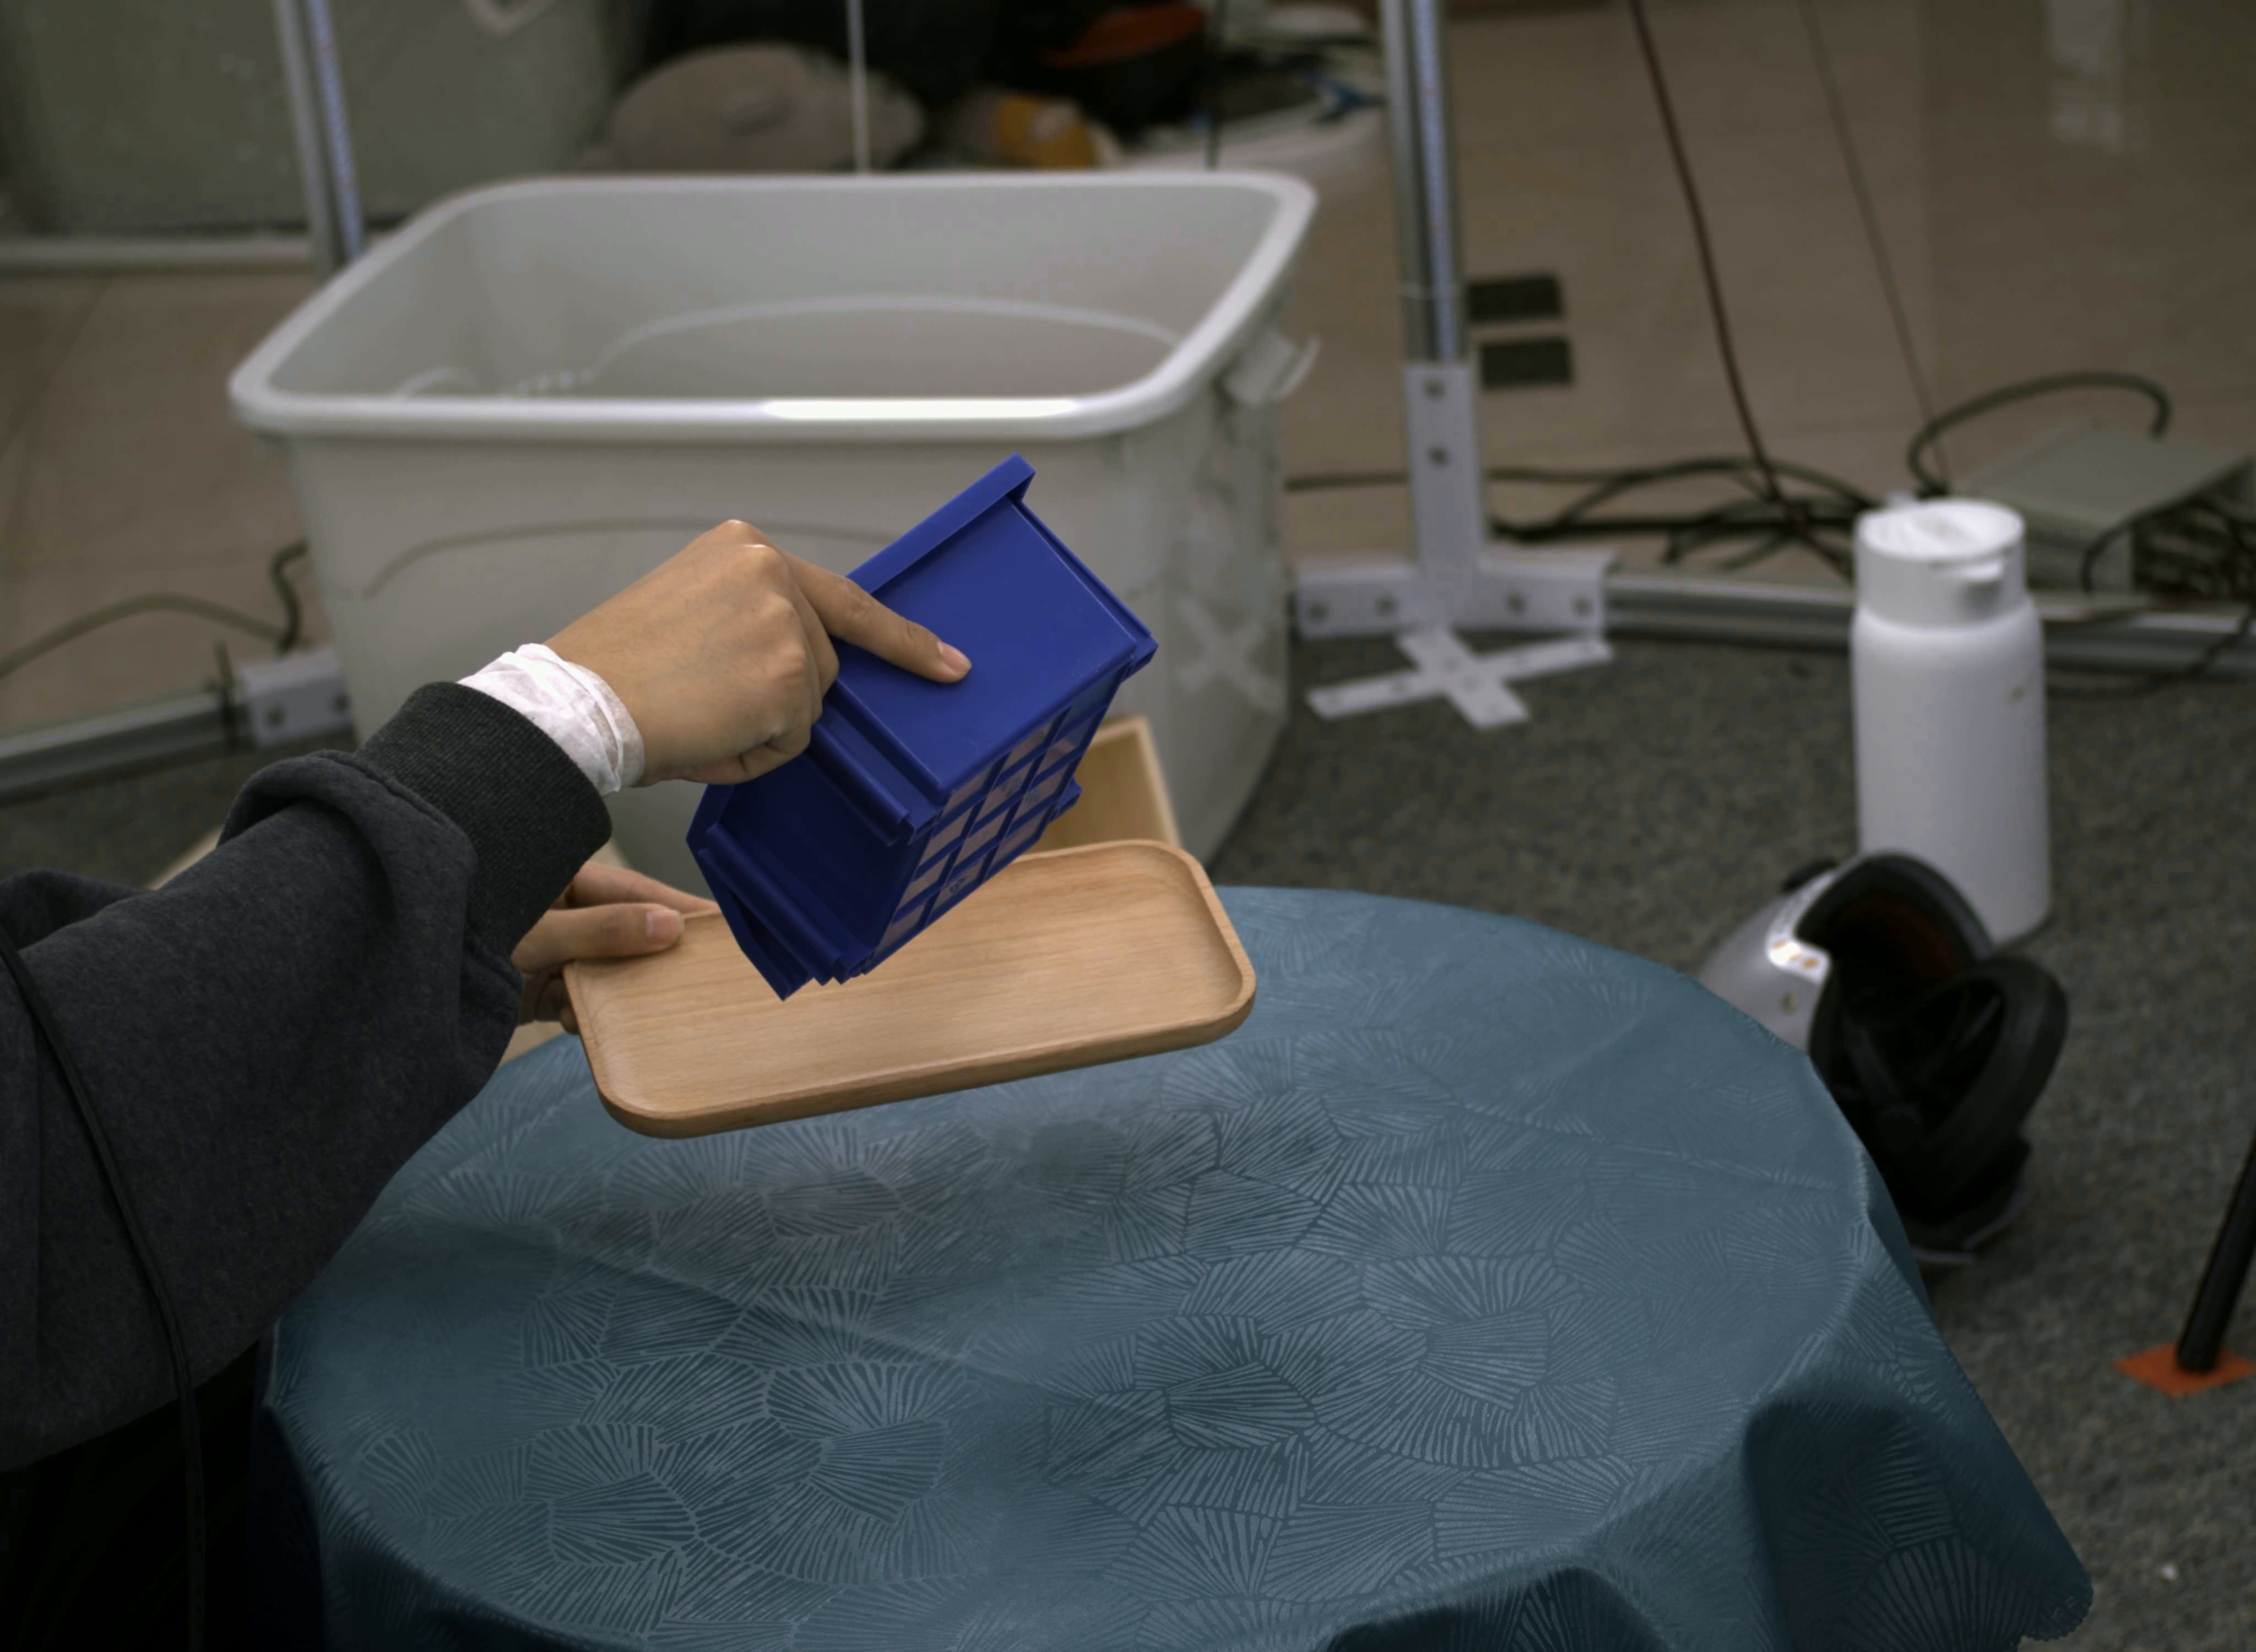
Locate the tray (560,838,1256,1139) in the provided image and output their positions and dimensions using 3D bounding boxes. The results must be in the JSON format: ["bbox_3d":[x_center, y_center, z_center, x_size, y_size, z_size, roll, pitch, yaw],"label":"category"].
[{"bbox_3d":[-0.083,0.061,2.124,0.250,0.023,0.128,-10,33,-11],"label":"tray"}]

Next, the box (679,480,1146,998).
[{"bbox_3d":[-0.080,-0.021,1.985,0.123,0.181,0.081,-39,83,-27],"label":"box"}]
